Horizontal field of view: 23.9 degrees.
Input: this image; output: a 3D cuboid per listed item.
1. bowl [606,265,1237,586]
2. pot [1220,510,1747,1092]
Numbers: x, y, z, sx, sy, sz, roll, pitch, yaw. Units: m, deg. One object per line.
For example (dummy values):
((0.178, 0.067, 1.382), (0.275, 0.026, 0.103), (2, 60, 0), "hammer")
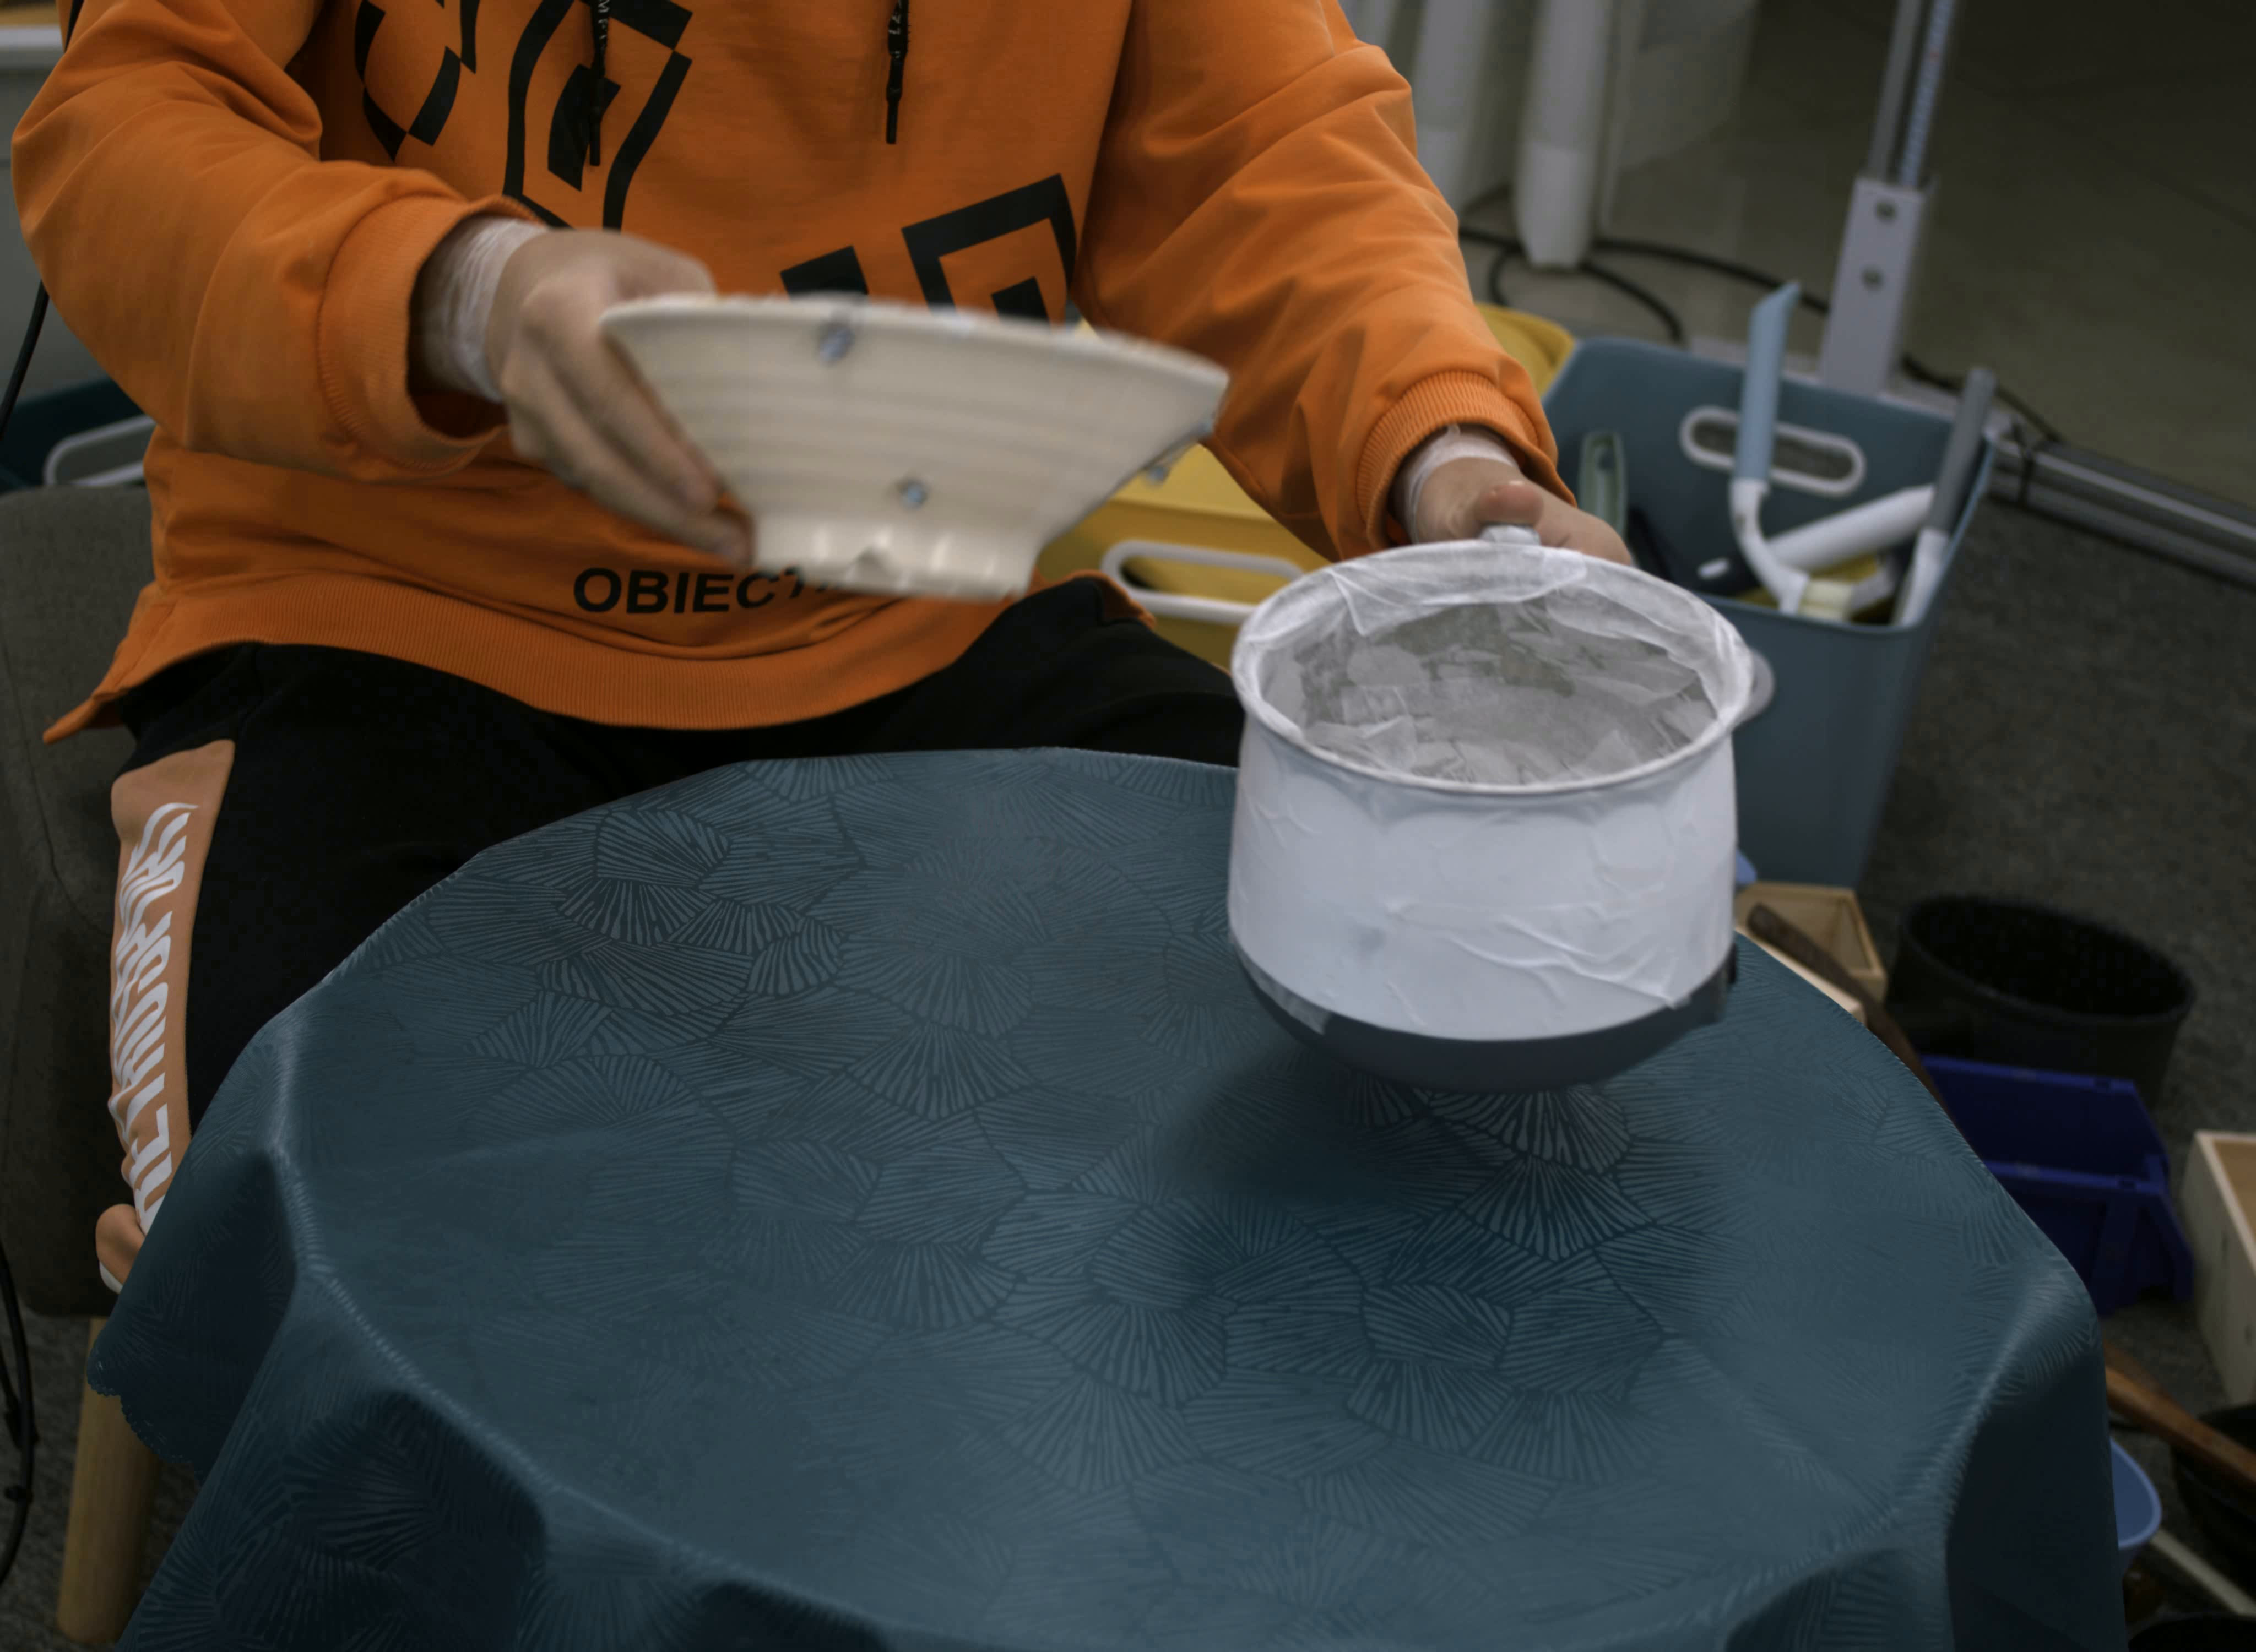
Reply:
((-0.068, -0.121, 1.705), (0.203, 0.078, 0.204), (3, -6, 0), "bowl")
((0.123, -0.016, 1.850), (0.178, 0.136, 0.235), (3, 30, 5), "pot")
